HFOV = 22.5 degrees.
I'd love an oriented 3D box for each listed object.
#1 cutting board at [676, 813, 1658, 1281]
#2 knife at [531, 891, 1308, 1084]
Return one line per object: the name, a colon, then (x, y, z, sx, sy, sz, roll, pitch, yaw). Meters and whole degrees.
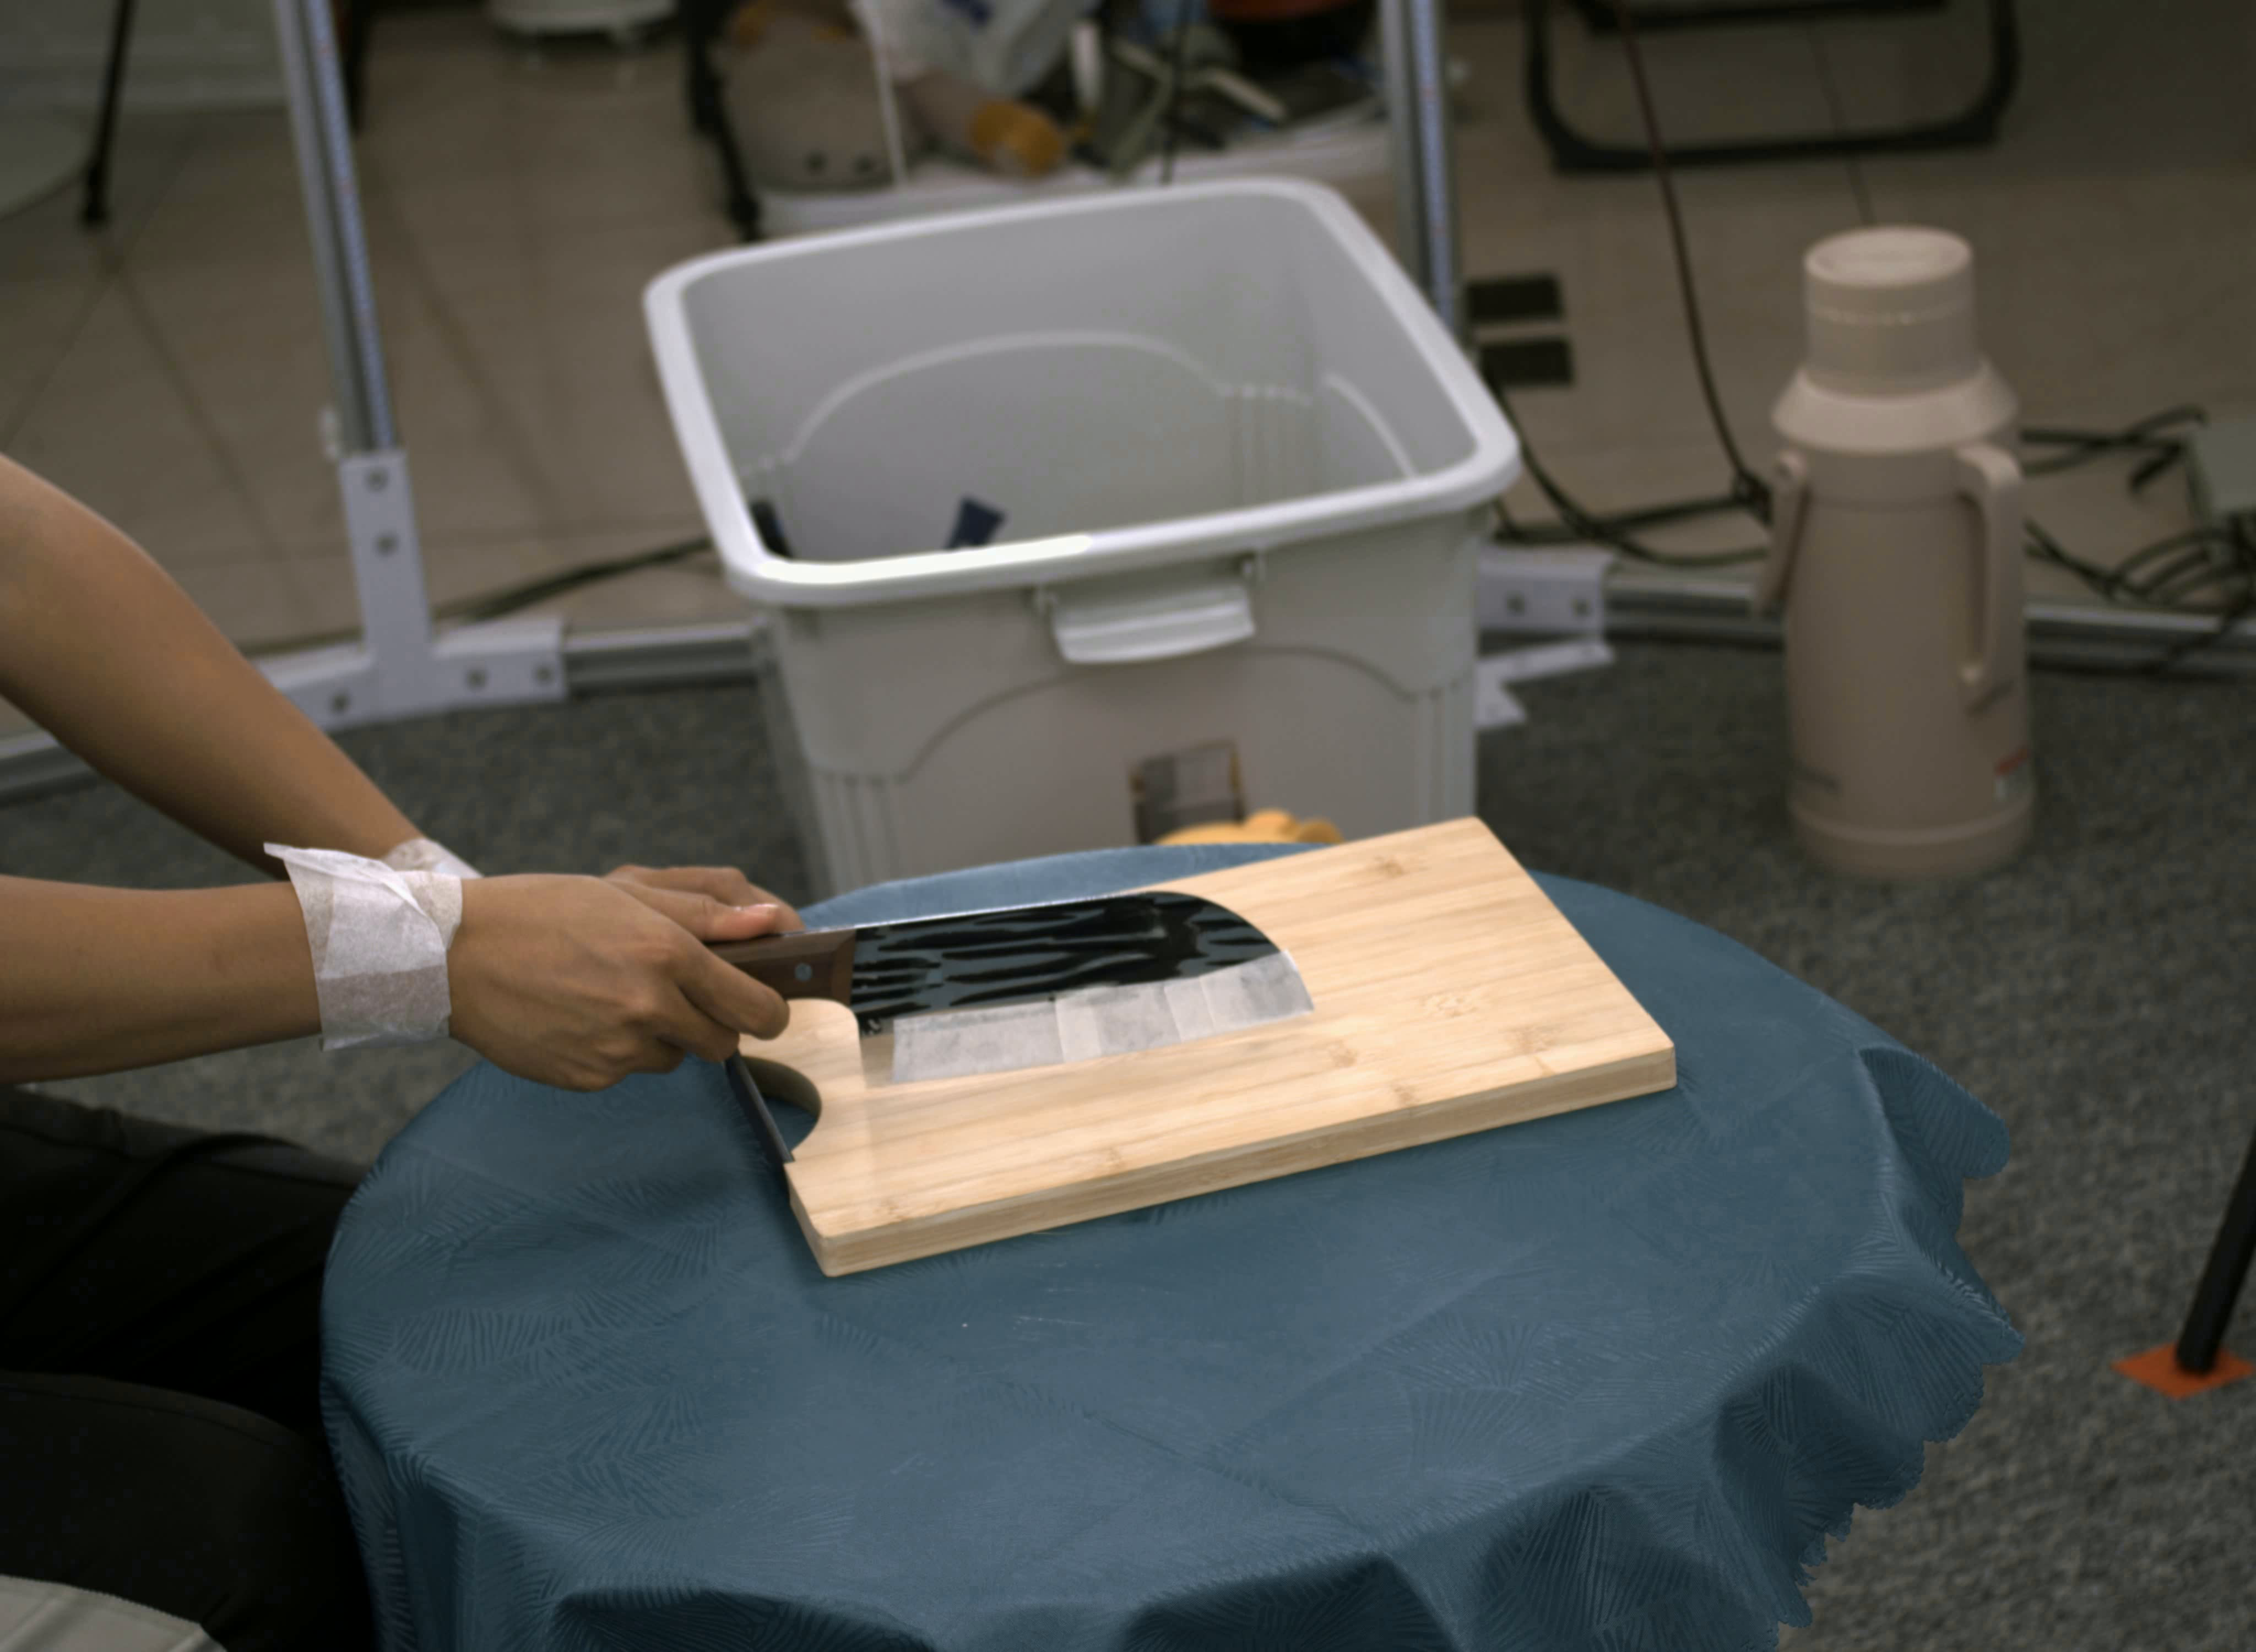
cutting board: (0.011, 0.083, 2.249, 0.347, 0.024, 0.247, -12, 25, -12)
knife: (-0.079, 0.066, 2.193, 0.299, 0.069, 0.023, -5, 20, -5)
